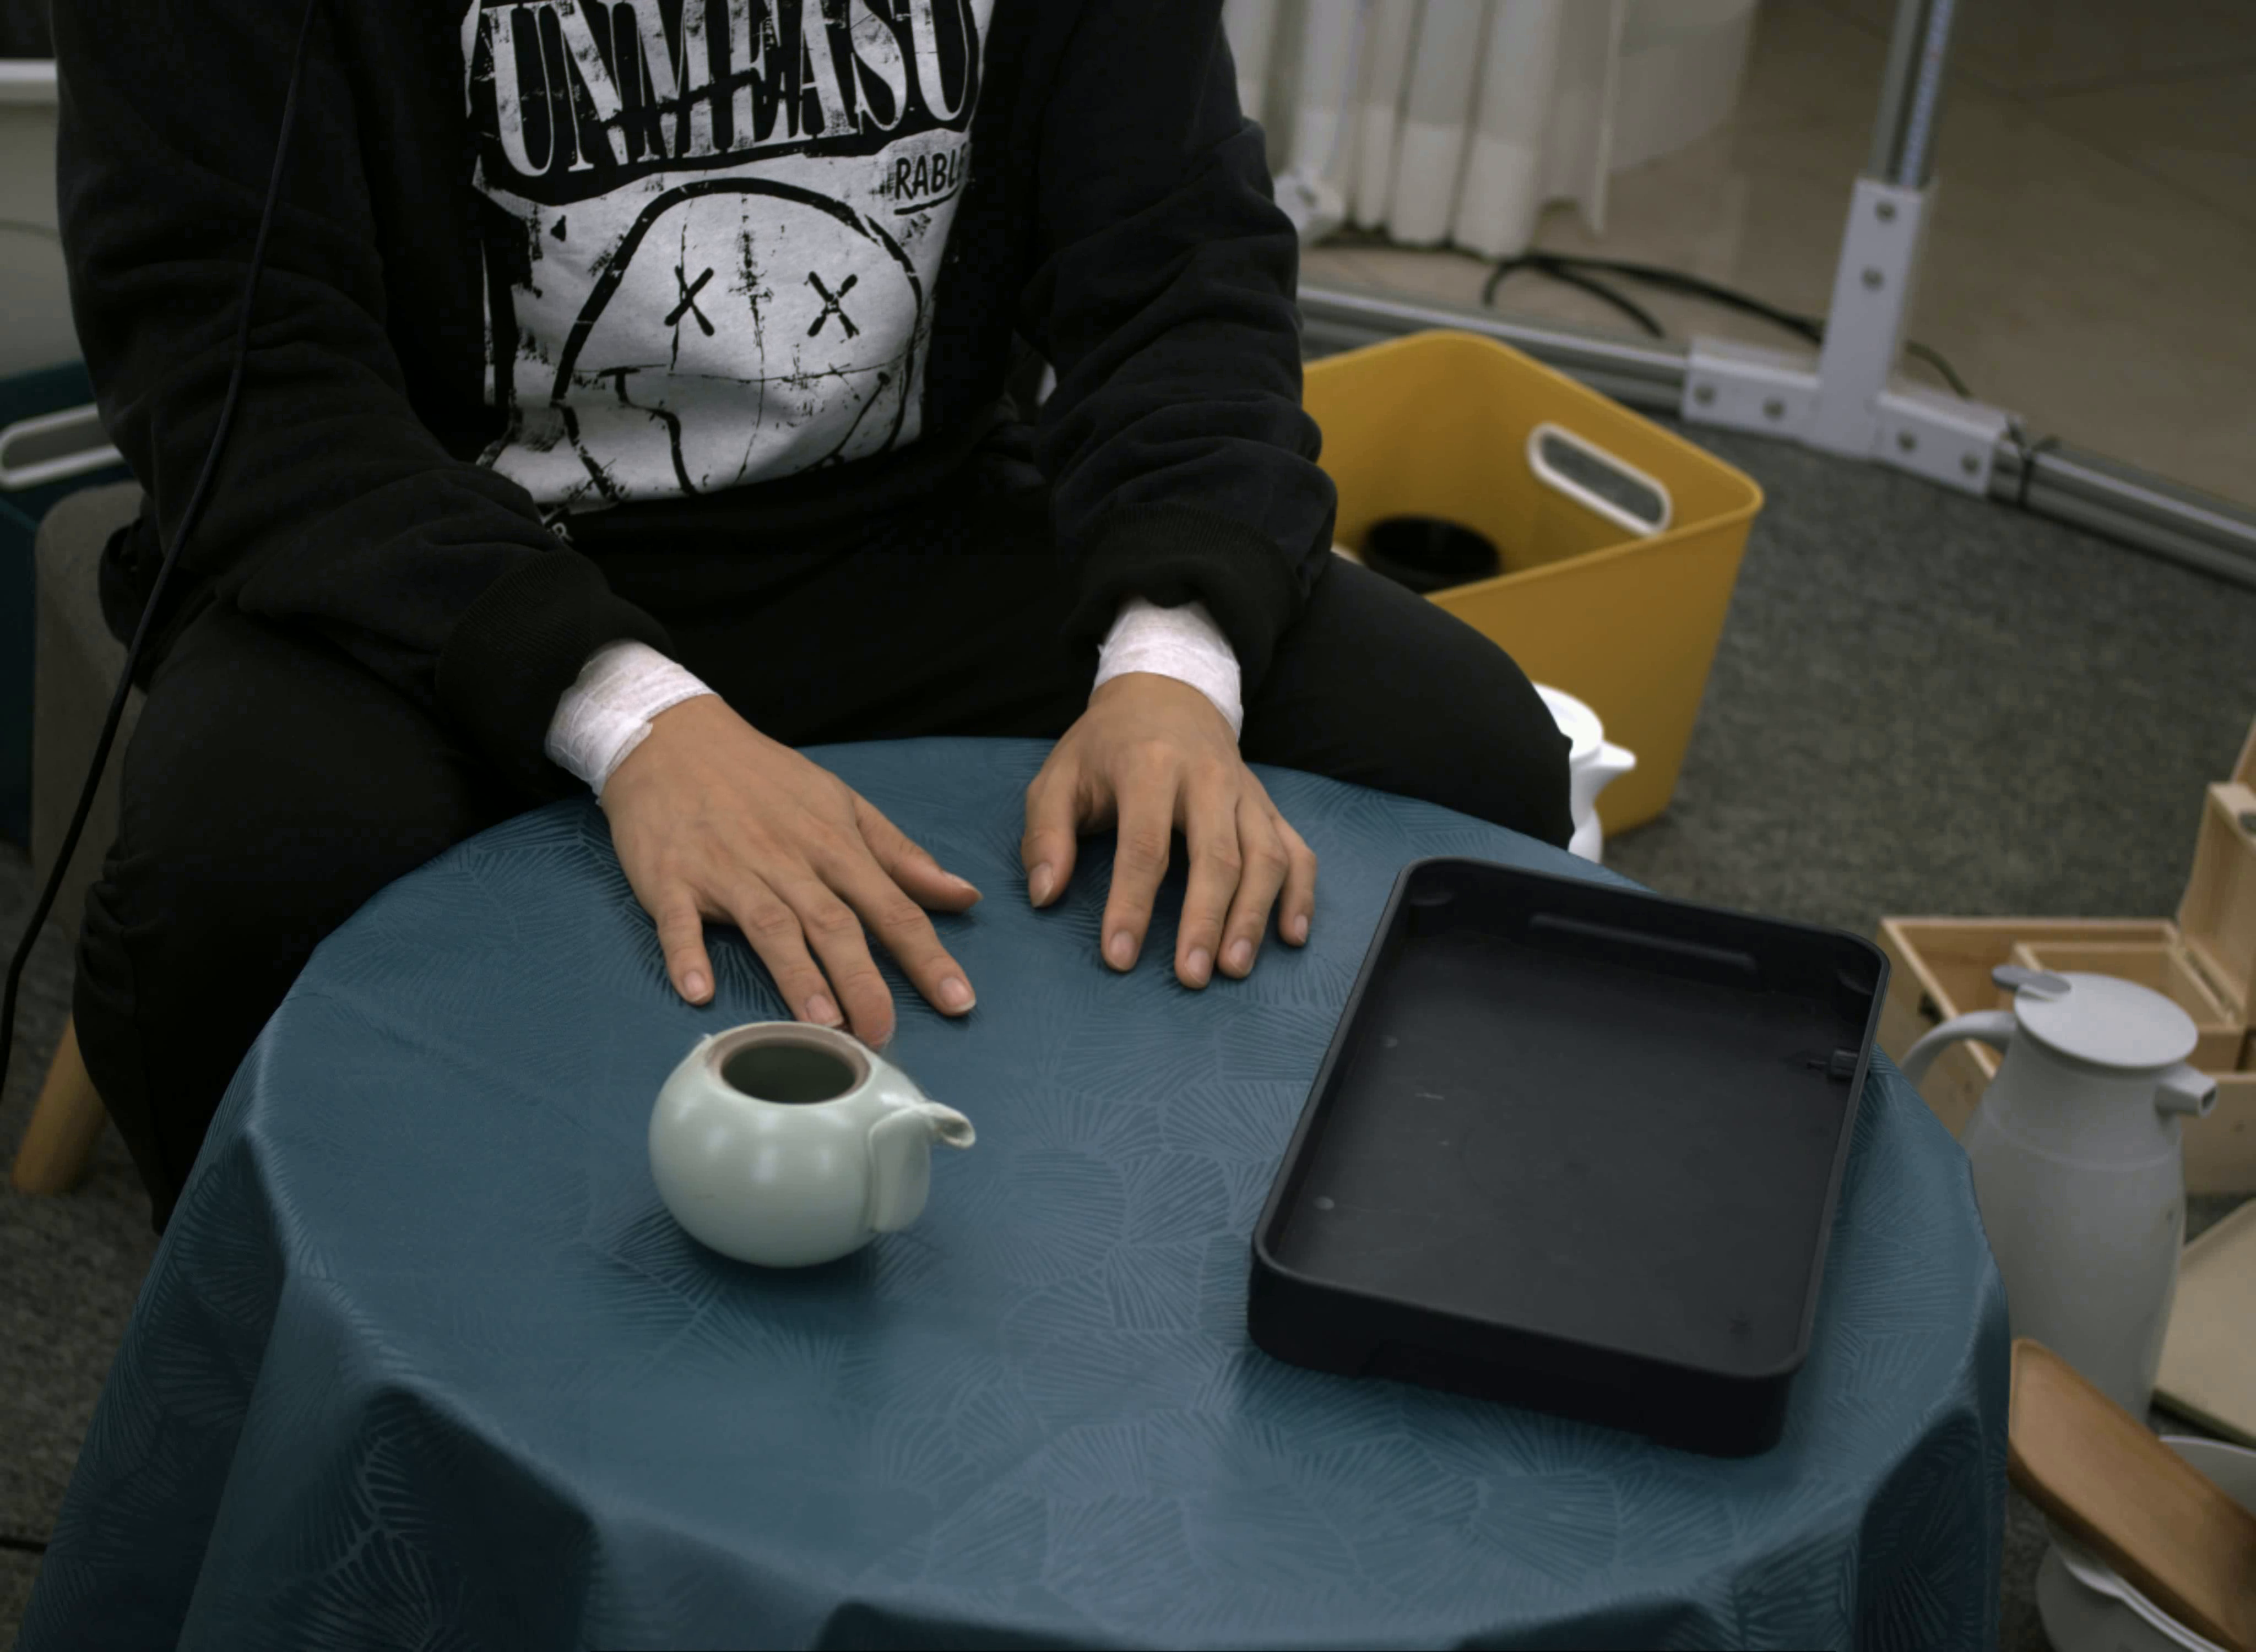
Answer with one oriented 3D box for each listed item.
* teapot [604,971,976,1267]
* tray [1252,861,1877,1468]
[{"bbox_3d":[-0.113,0.102,1.742,0.144,0.074,0.088,24,31,27],"label":"teapot"},{"bbox_3d":[0.155,0.109,1.829,0.184,0.037,0.319,11,27,7],"label":"tray"}]
